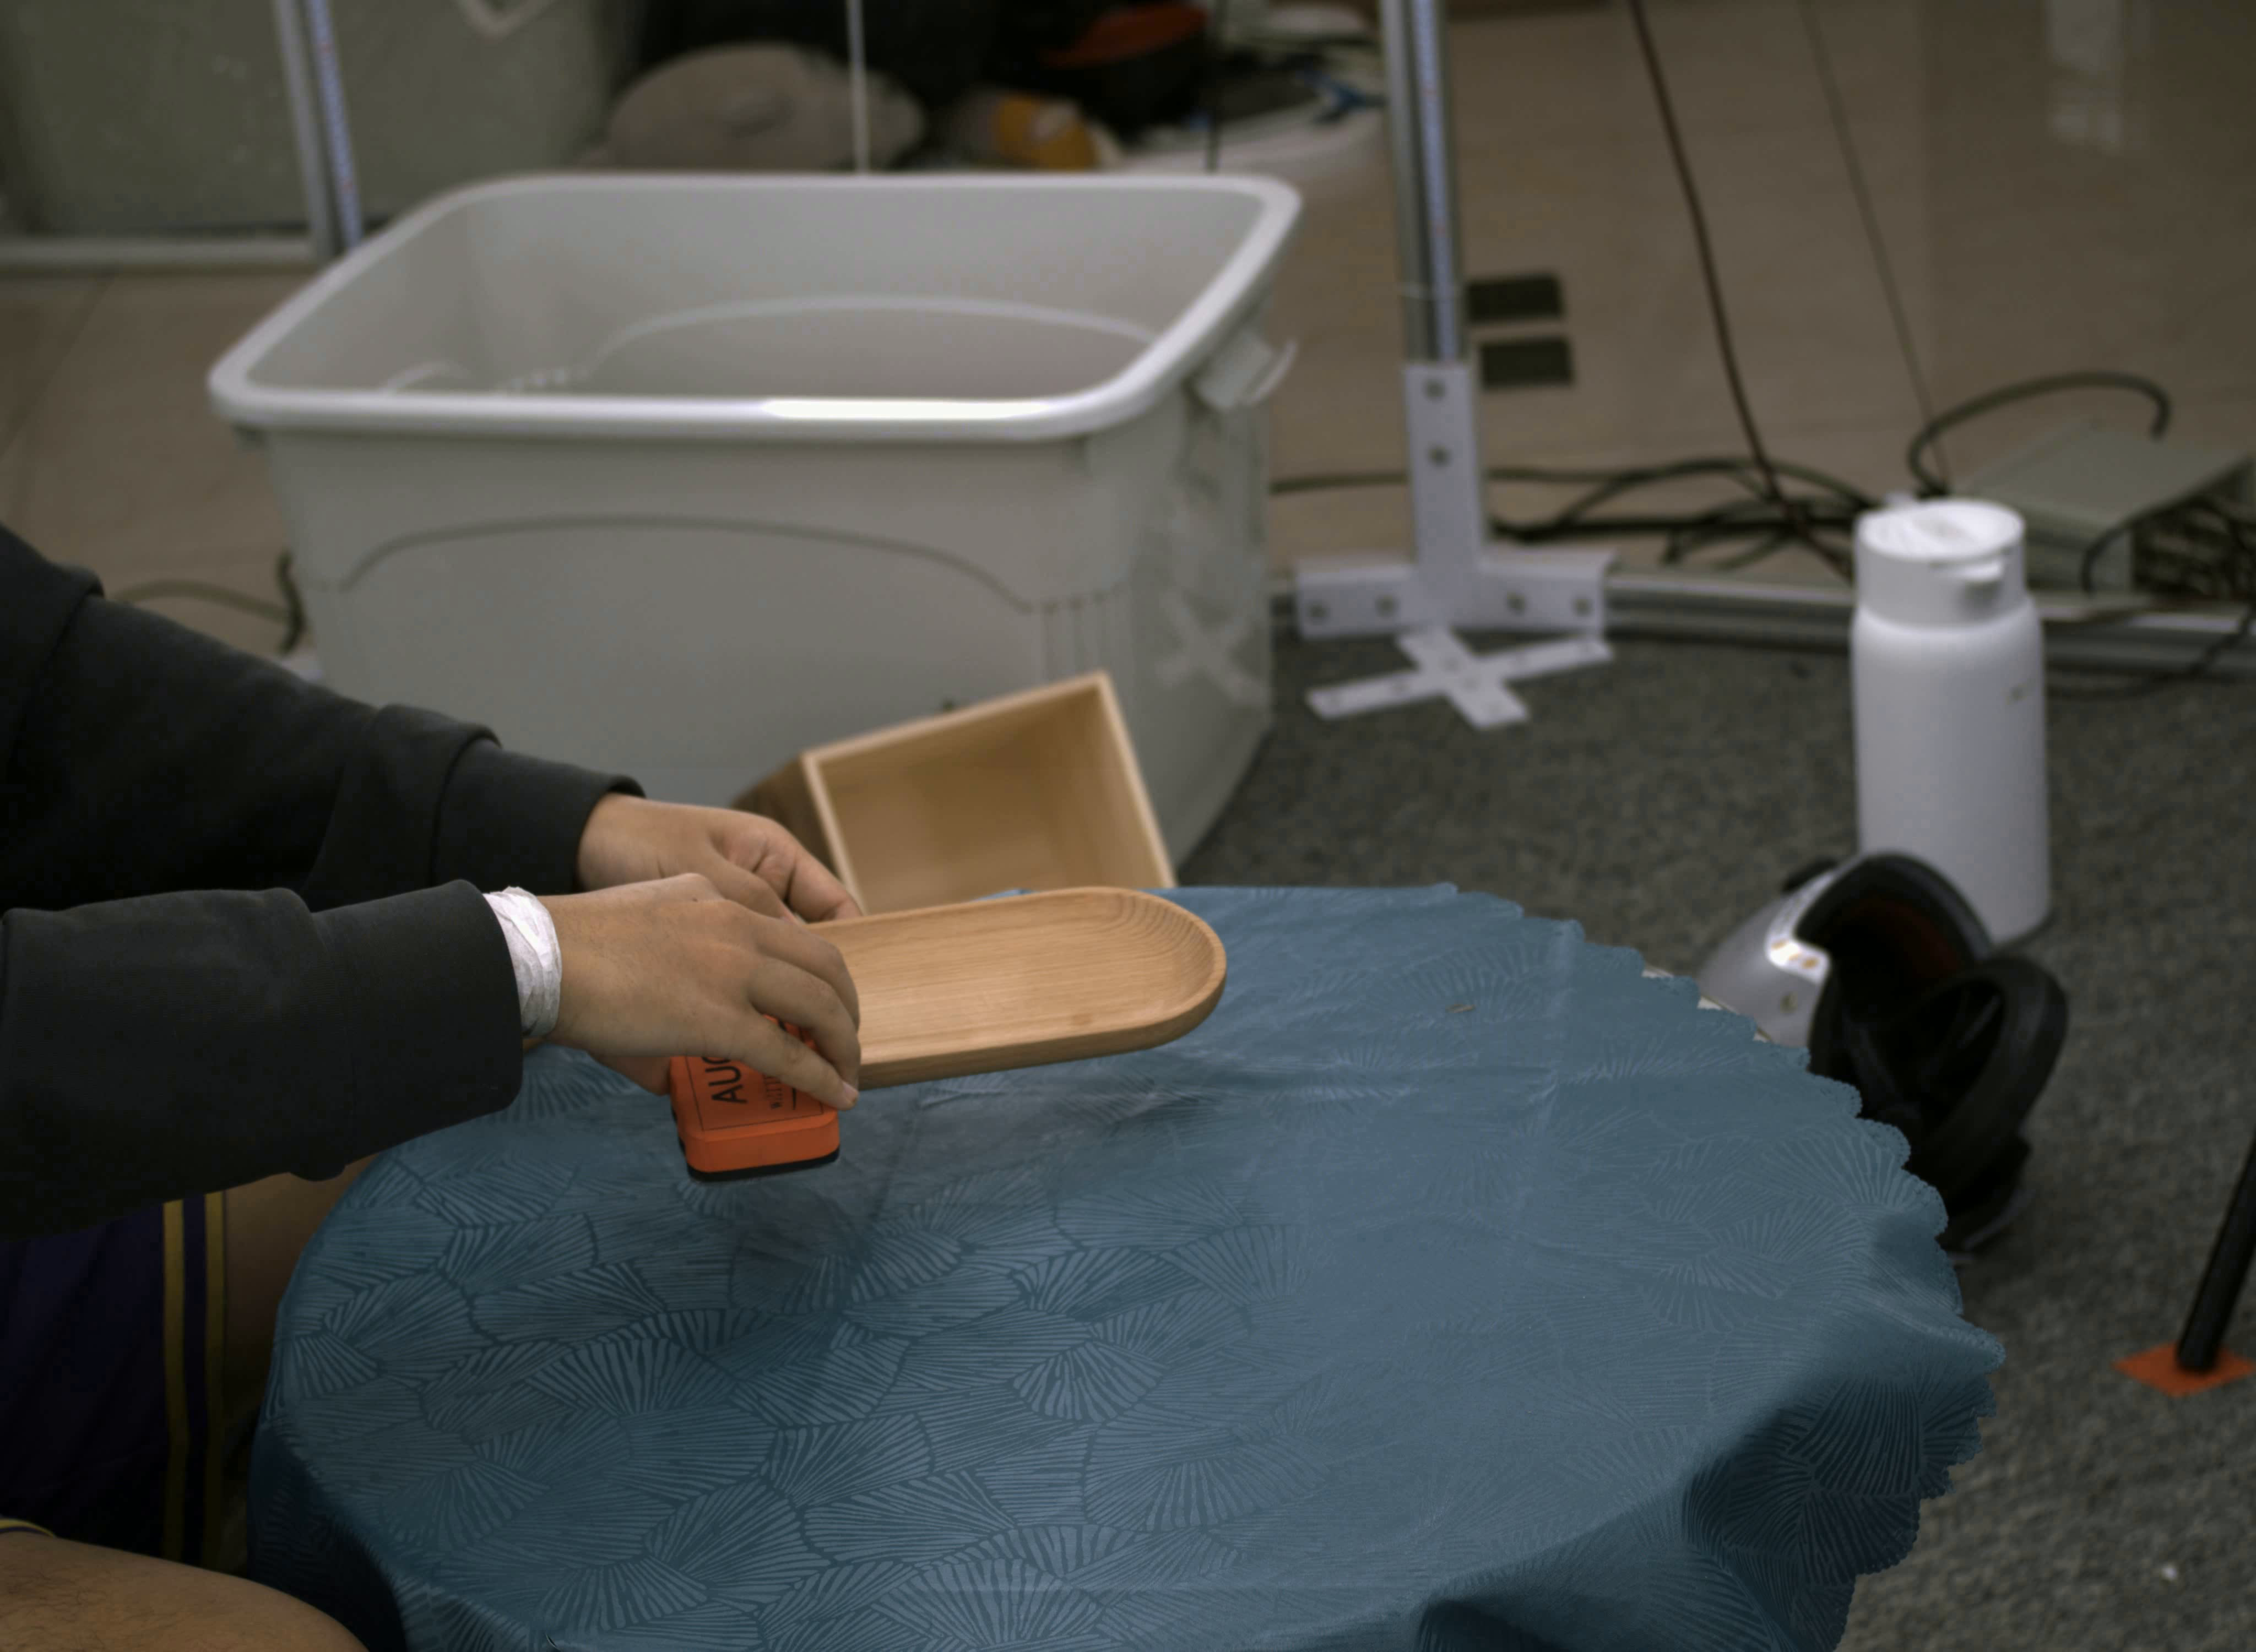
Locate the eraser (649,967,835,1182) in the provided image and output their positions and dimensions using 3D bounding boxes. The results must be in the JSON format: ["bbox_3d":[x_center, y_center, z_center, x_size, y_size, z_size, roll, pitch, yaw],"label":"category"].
[{"bbox_3d":[-0.143,0.091,2.100,0.059,0.023,0.106,2,34,-15],"label":"eraser"}]

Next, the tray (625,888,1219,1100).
[{"bbox_3d":[-0.078,0.066,2.173,0.230,0.021,0.100,-9,33,-13],"label":"tray"}]
